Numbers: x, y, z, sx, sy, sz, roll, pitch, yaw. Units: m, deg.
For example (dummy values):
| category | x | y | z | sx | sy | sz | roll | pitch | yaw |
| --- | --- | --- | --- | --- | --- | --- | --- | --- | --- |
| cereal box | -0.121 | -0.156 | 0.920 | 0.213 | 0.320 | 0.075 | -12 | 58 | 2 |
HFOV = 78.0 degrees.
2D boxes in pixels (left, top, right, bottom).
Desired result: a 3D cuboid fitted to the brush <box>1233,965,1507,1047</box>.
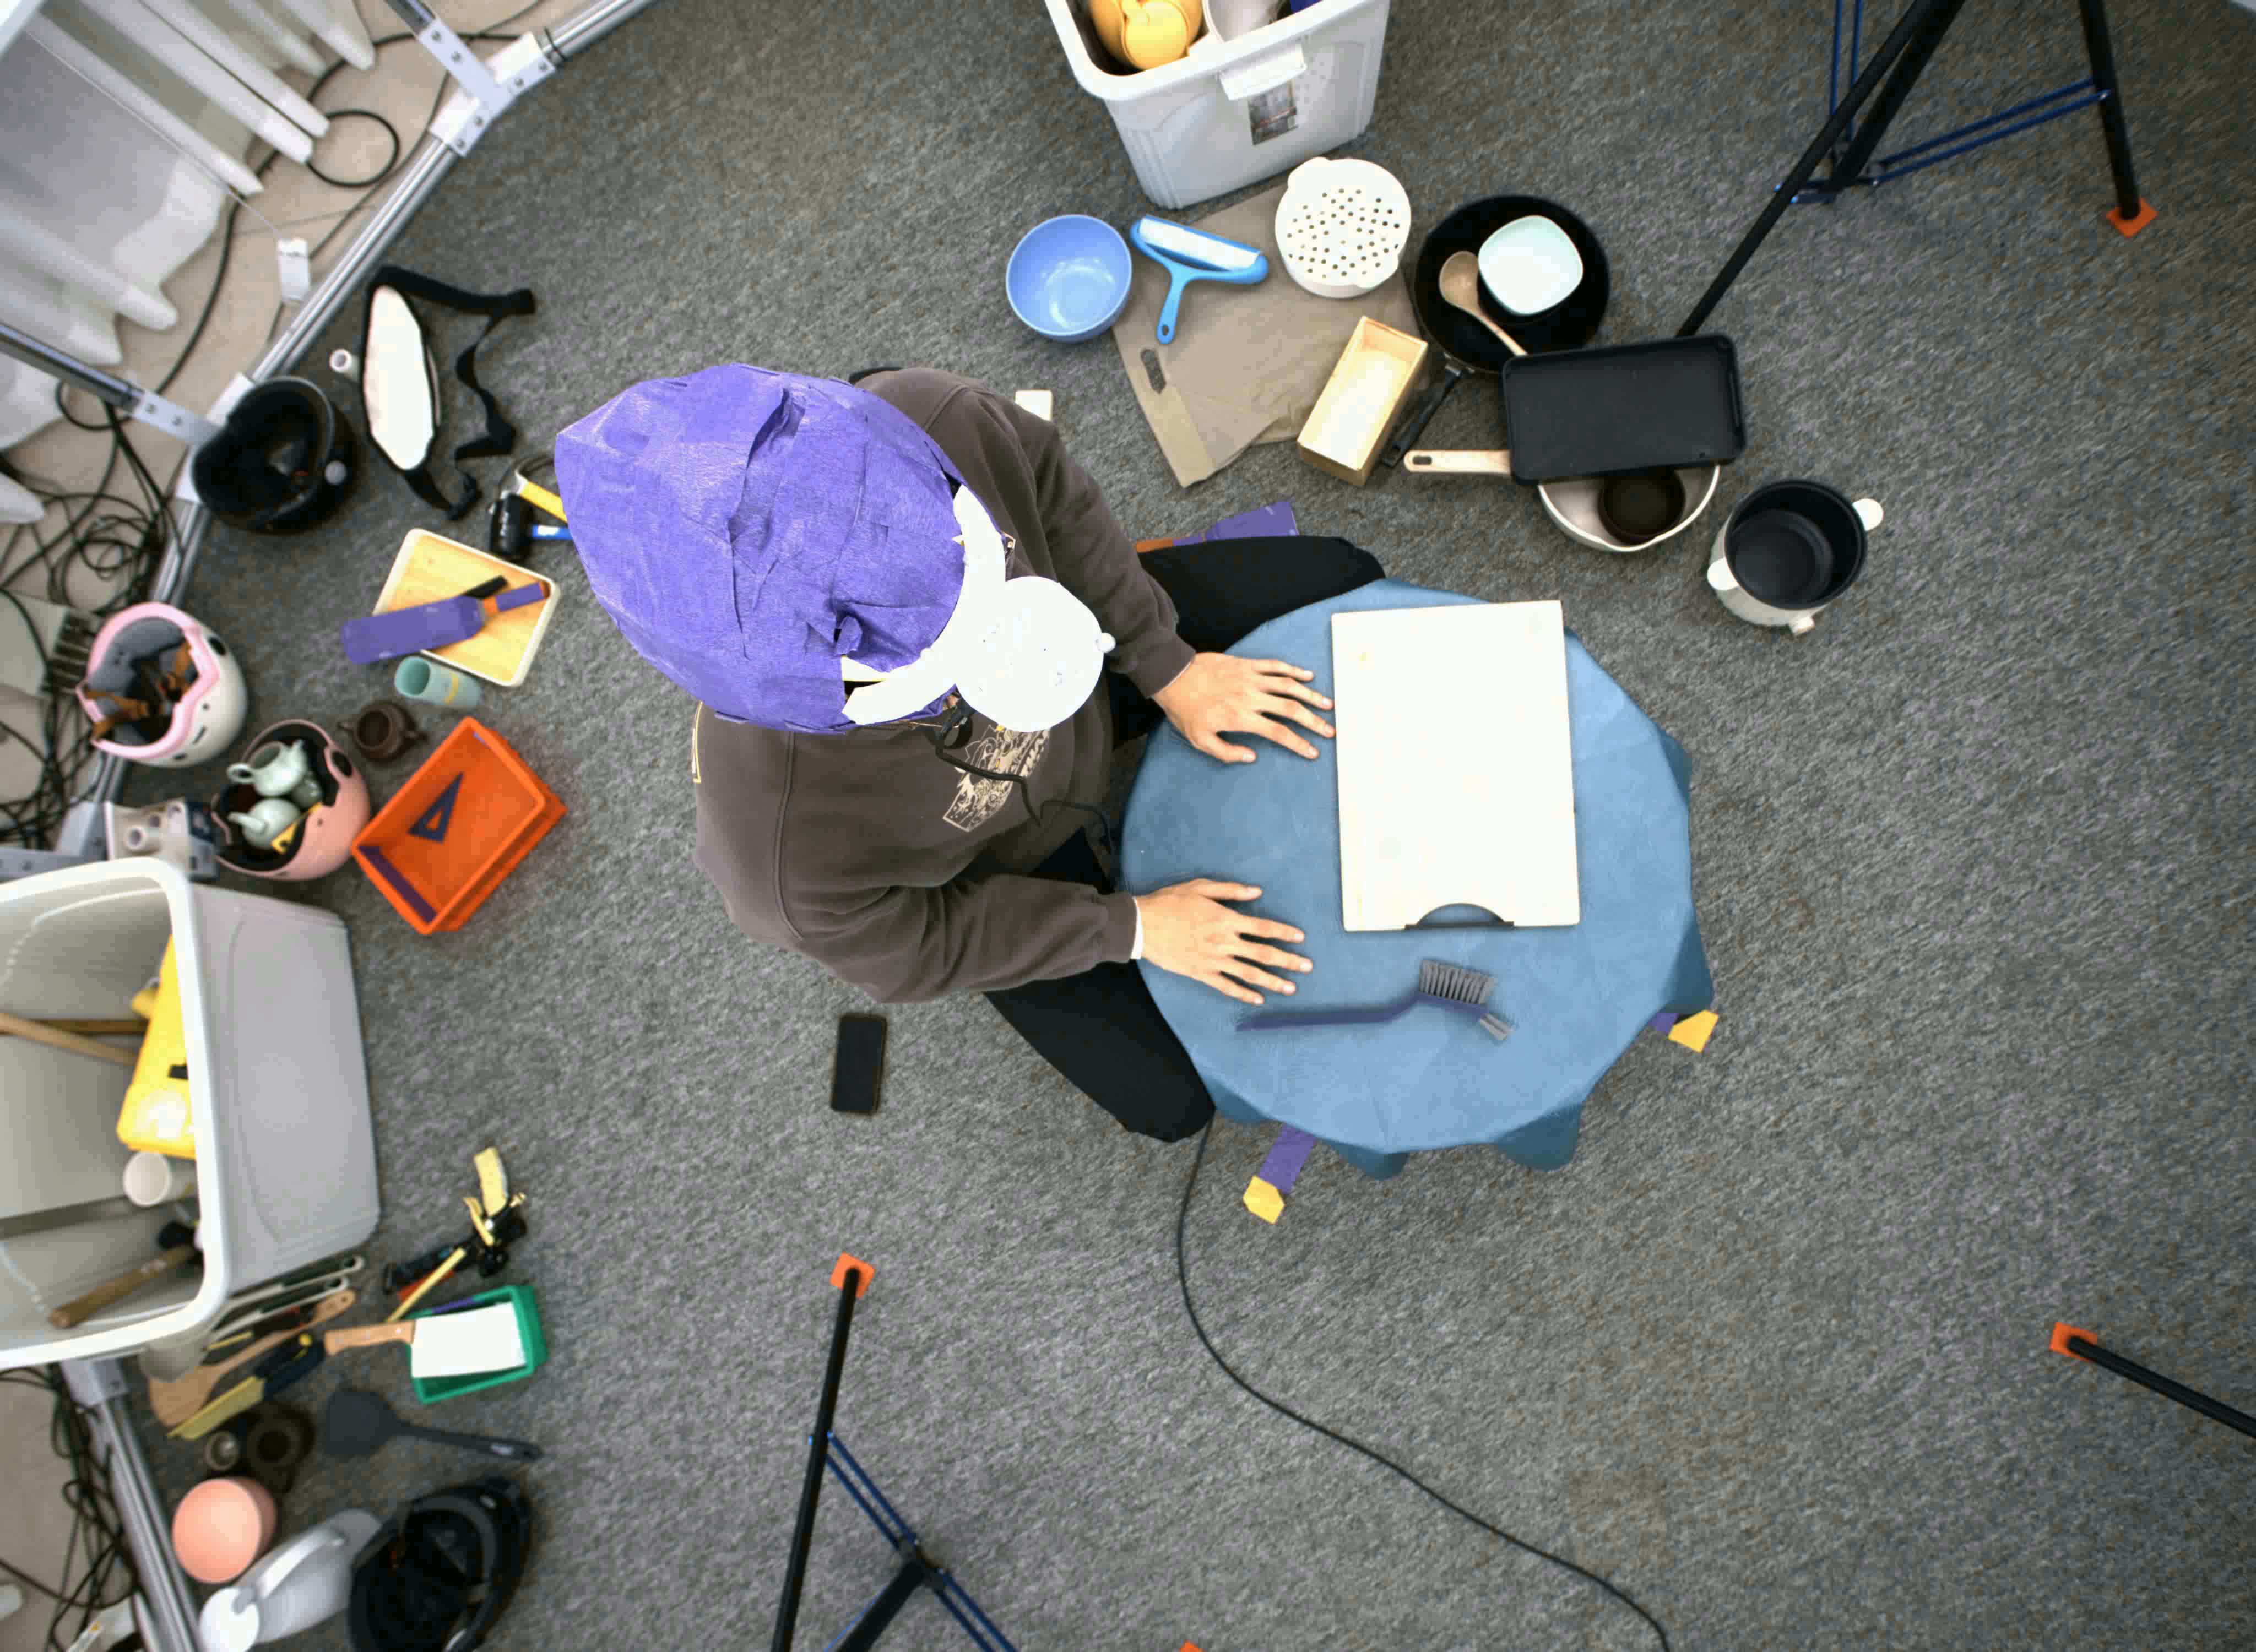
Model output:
| category | x | y | z | sx | sy | sz | roll | pitch | yaw |
| --- | --- | --- | --- | --- | --- | --- | --- | --- | --- |
| brush | 0.249 | 0.204 | 1.439 | 0.274 | 0.033 | 0.095 | -12 | 85 | 9 |

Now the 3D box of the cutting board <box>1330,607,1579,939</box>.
| category | x | y | z | sx | sy | sz | roll | pitch | yaw |
| --- | --- | --- | --- | --- | --- | --- | --- | --- | --- |
| cutting board | 0.340 | -0.059 | 1.443 | 0.252 | 0.023 | 0.347 | -3 | 87 | 11 |
